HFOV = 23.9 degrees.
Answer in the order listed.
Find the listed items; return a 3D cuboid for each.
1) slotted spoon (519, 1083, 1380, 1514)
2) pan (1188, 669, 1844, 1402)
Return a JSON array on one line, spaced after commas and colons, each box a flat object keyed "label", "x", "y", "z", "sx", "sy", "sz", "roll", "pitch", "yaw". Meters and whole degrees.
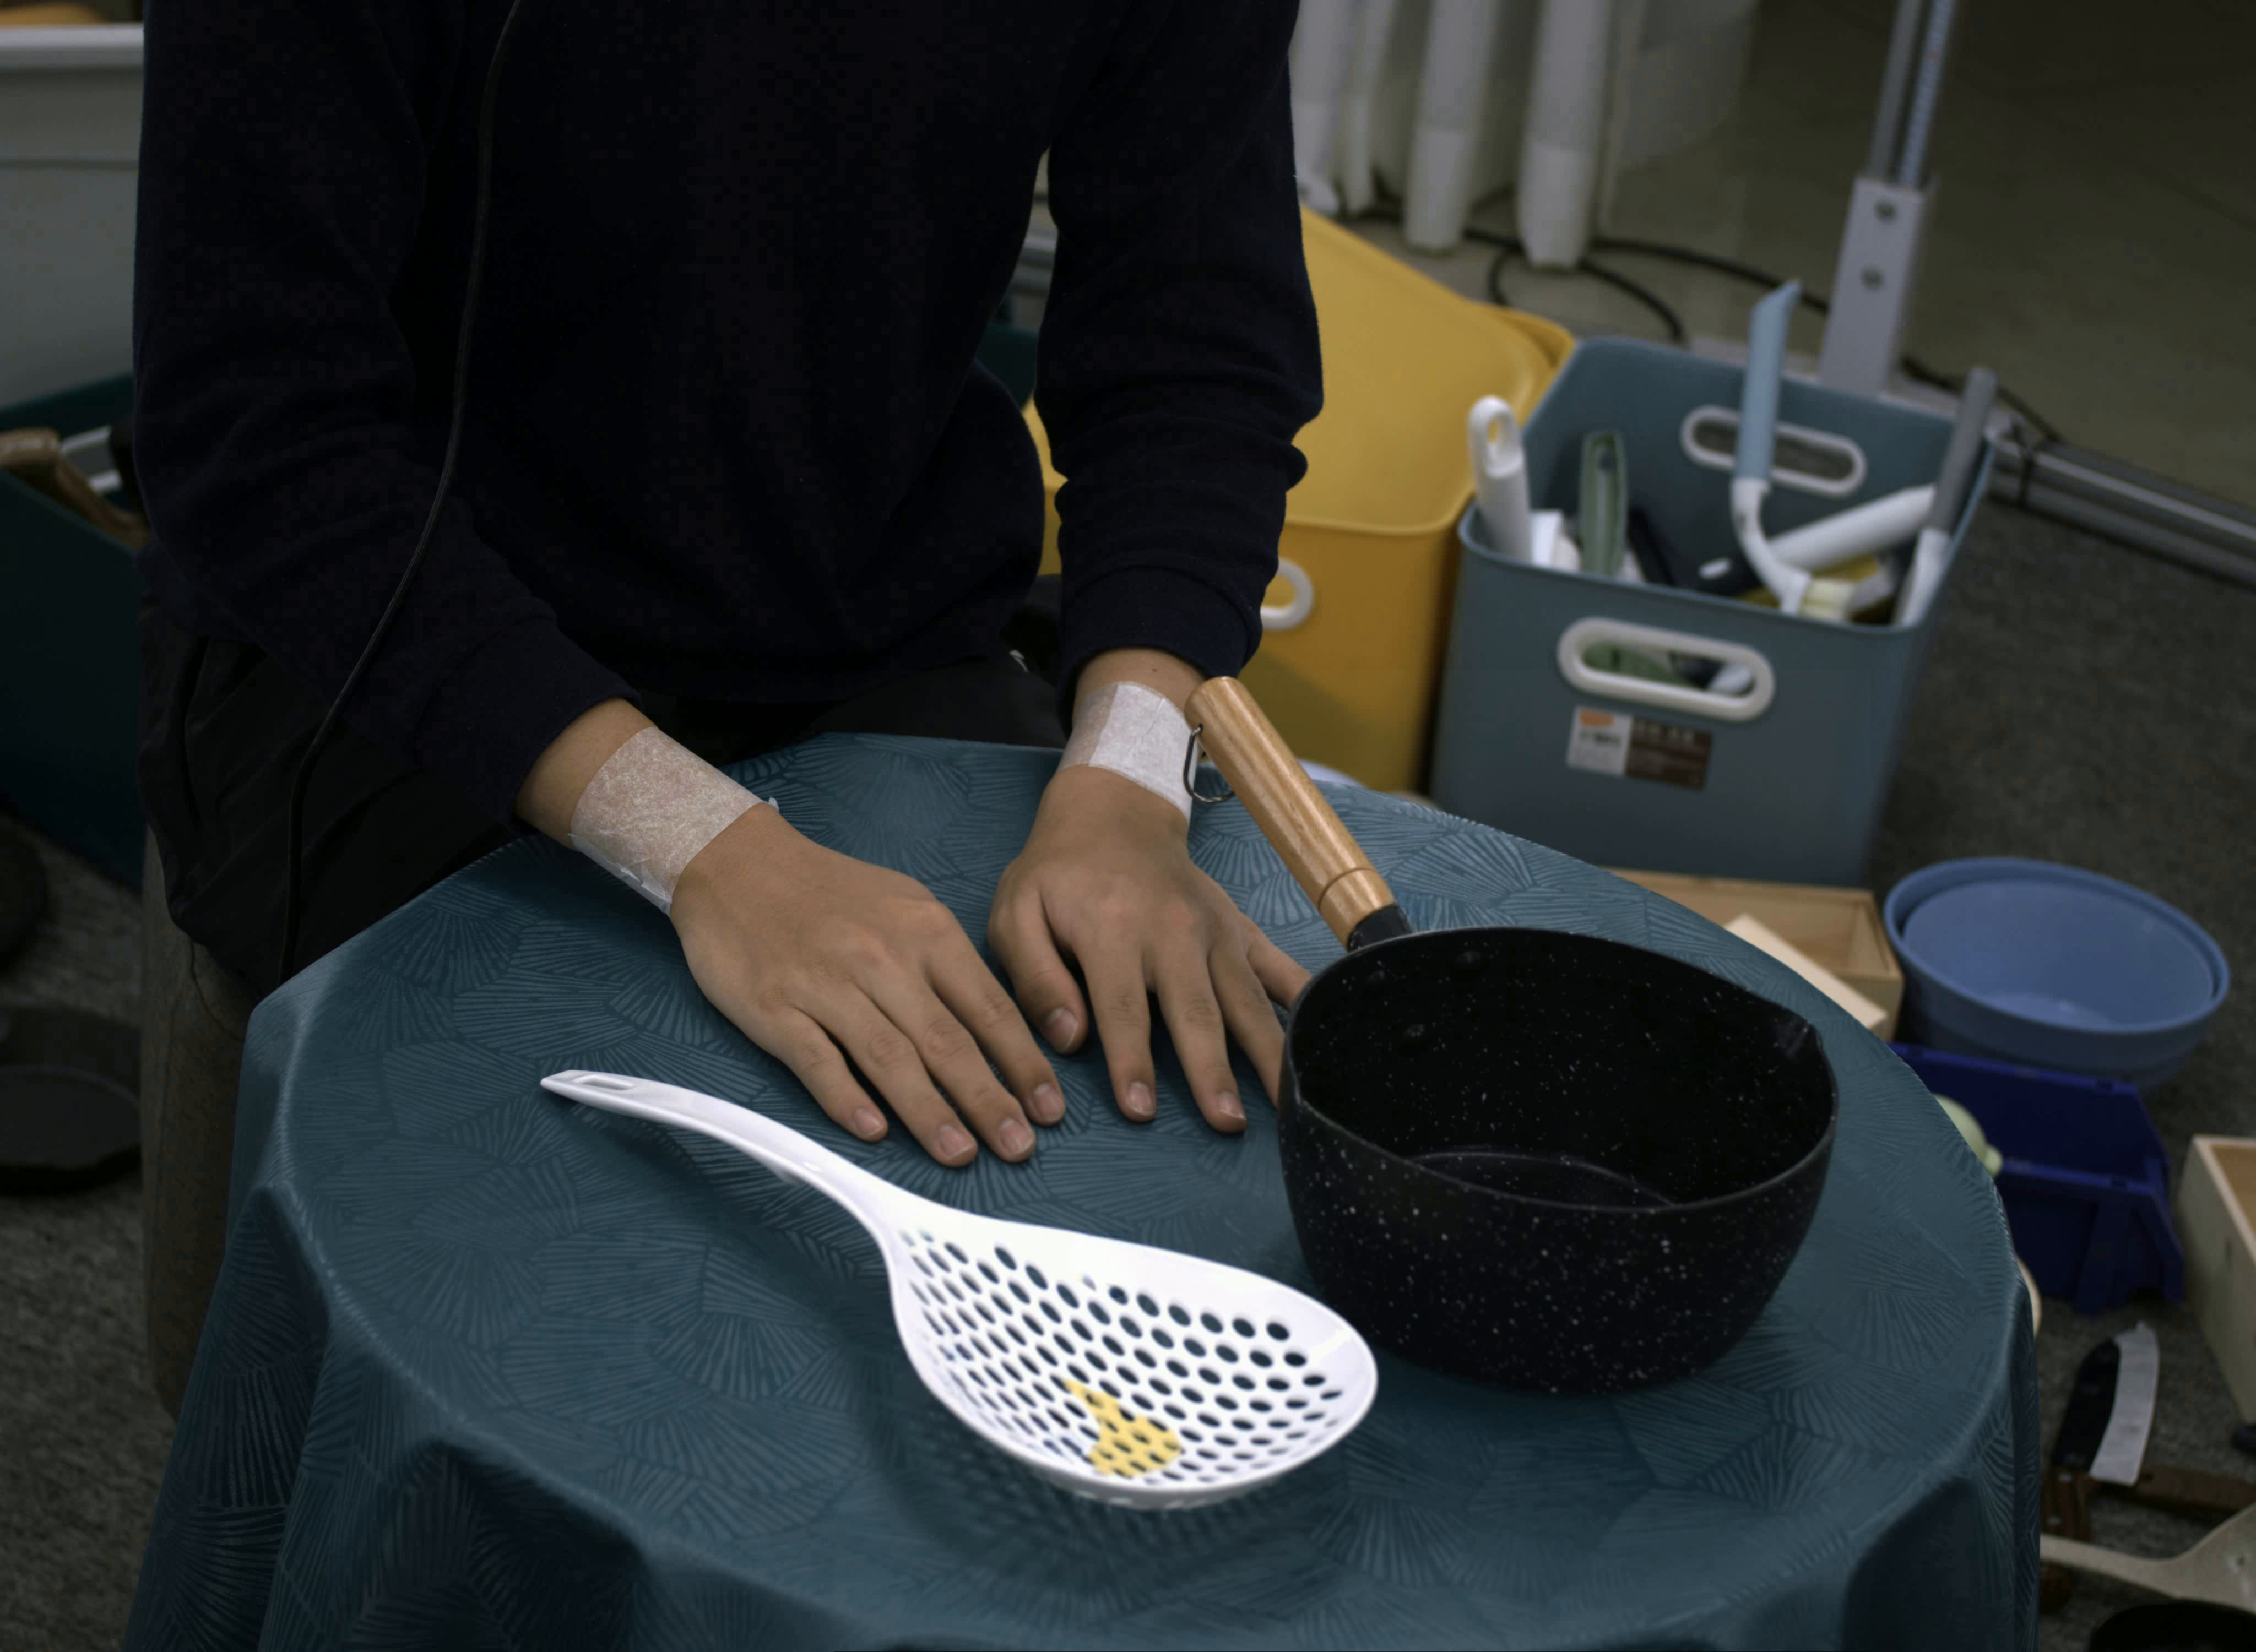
[{"label": "slotted spoon", "x": -0.072, "y": 0.138, "z": 1.711, "sx": 0.350, "sy": 0.050, "sz": 0.136, "roll": 30, "pitch": 37, "yaw": 35}, {"label": "pan", "x": 0.102, "y": 0.068, "z": 1.816, "sx": 0.206, "sy": 0.108, "sz": 0.346, "roll": -10, "pitch": 32, "yaw": -27}]
